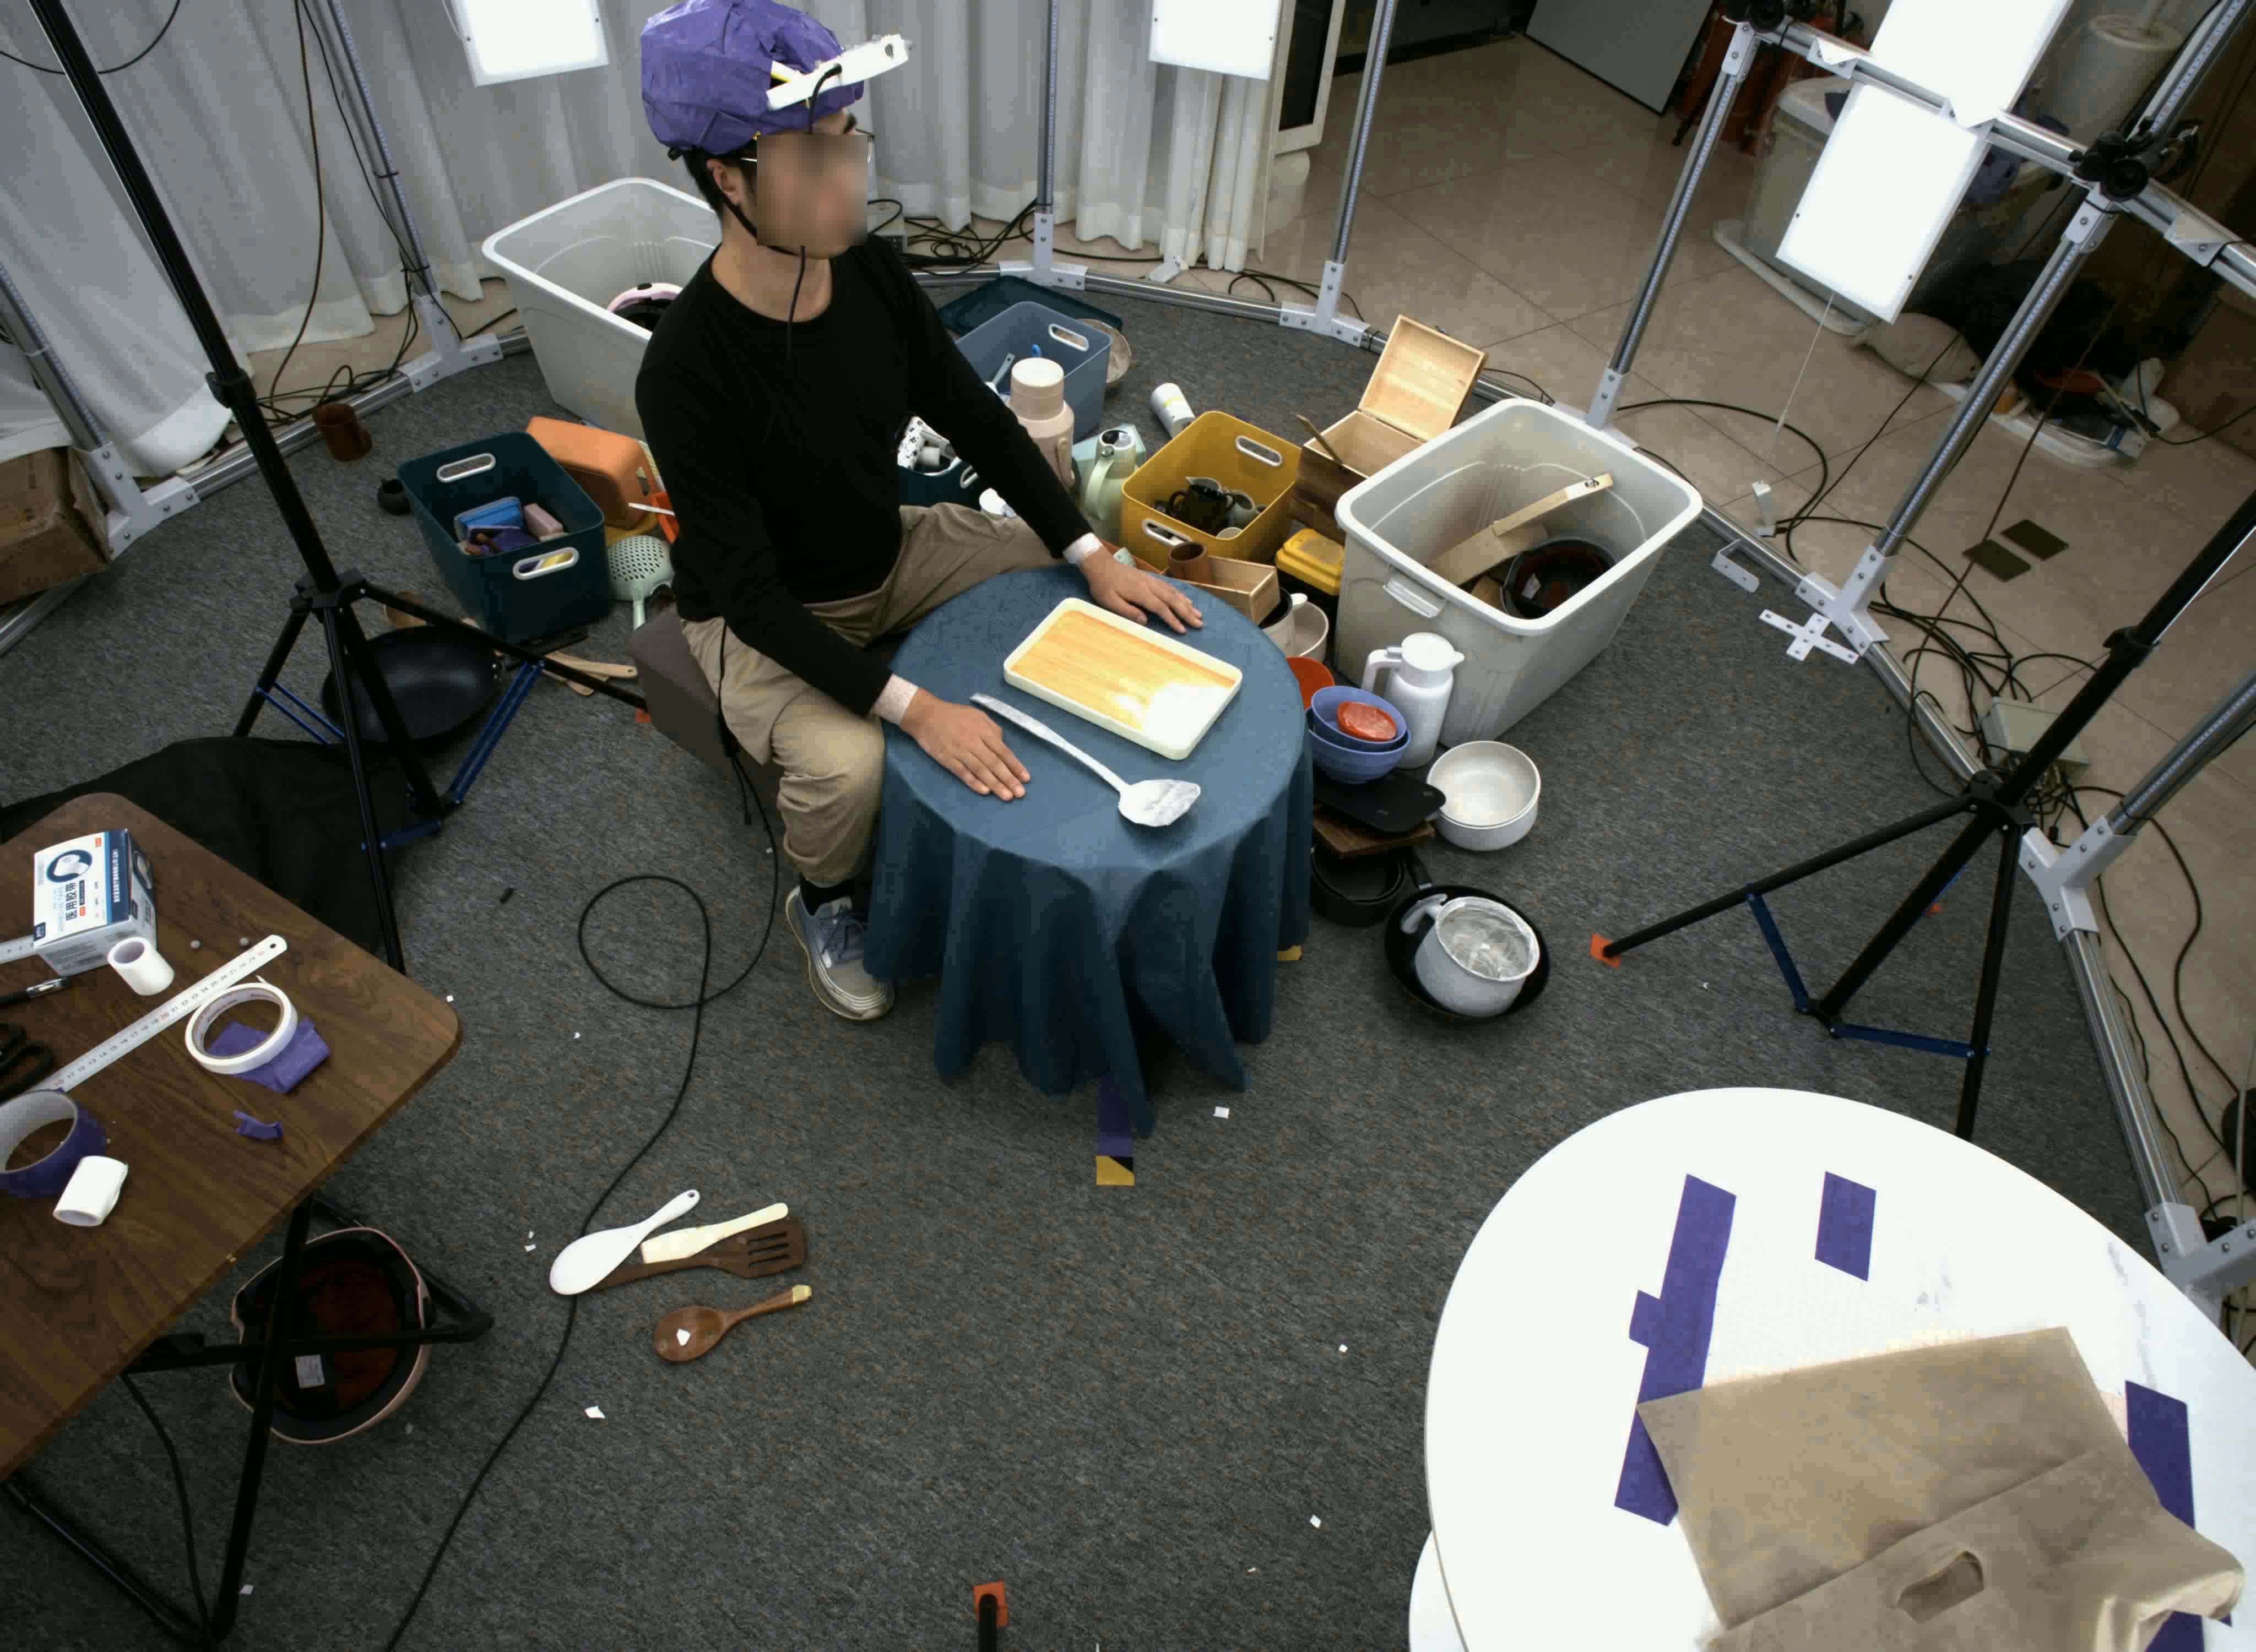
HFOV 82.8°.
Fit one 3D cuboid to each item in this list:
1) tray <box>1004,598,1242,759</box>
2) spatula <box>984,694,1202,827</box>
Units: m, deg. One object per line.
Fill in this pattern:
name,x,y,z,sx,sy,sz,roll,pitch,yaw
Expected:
tray,-0.007,-0.216,1.839,0.303,0.027,0.194,26,53,18
spatula,-0.065,-0.101,1.728,0.369,0.044,0.100,33,56,22
